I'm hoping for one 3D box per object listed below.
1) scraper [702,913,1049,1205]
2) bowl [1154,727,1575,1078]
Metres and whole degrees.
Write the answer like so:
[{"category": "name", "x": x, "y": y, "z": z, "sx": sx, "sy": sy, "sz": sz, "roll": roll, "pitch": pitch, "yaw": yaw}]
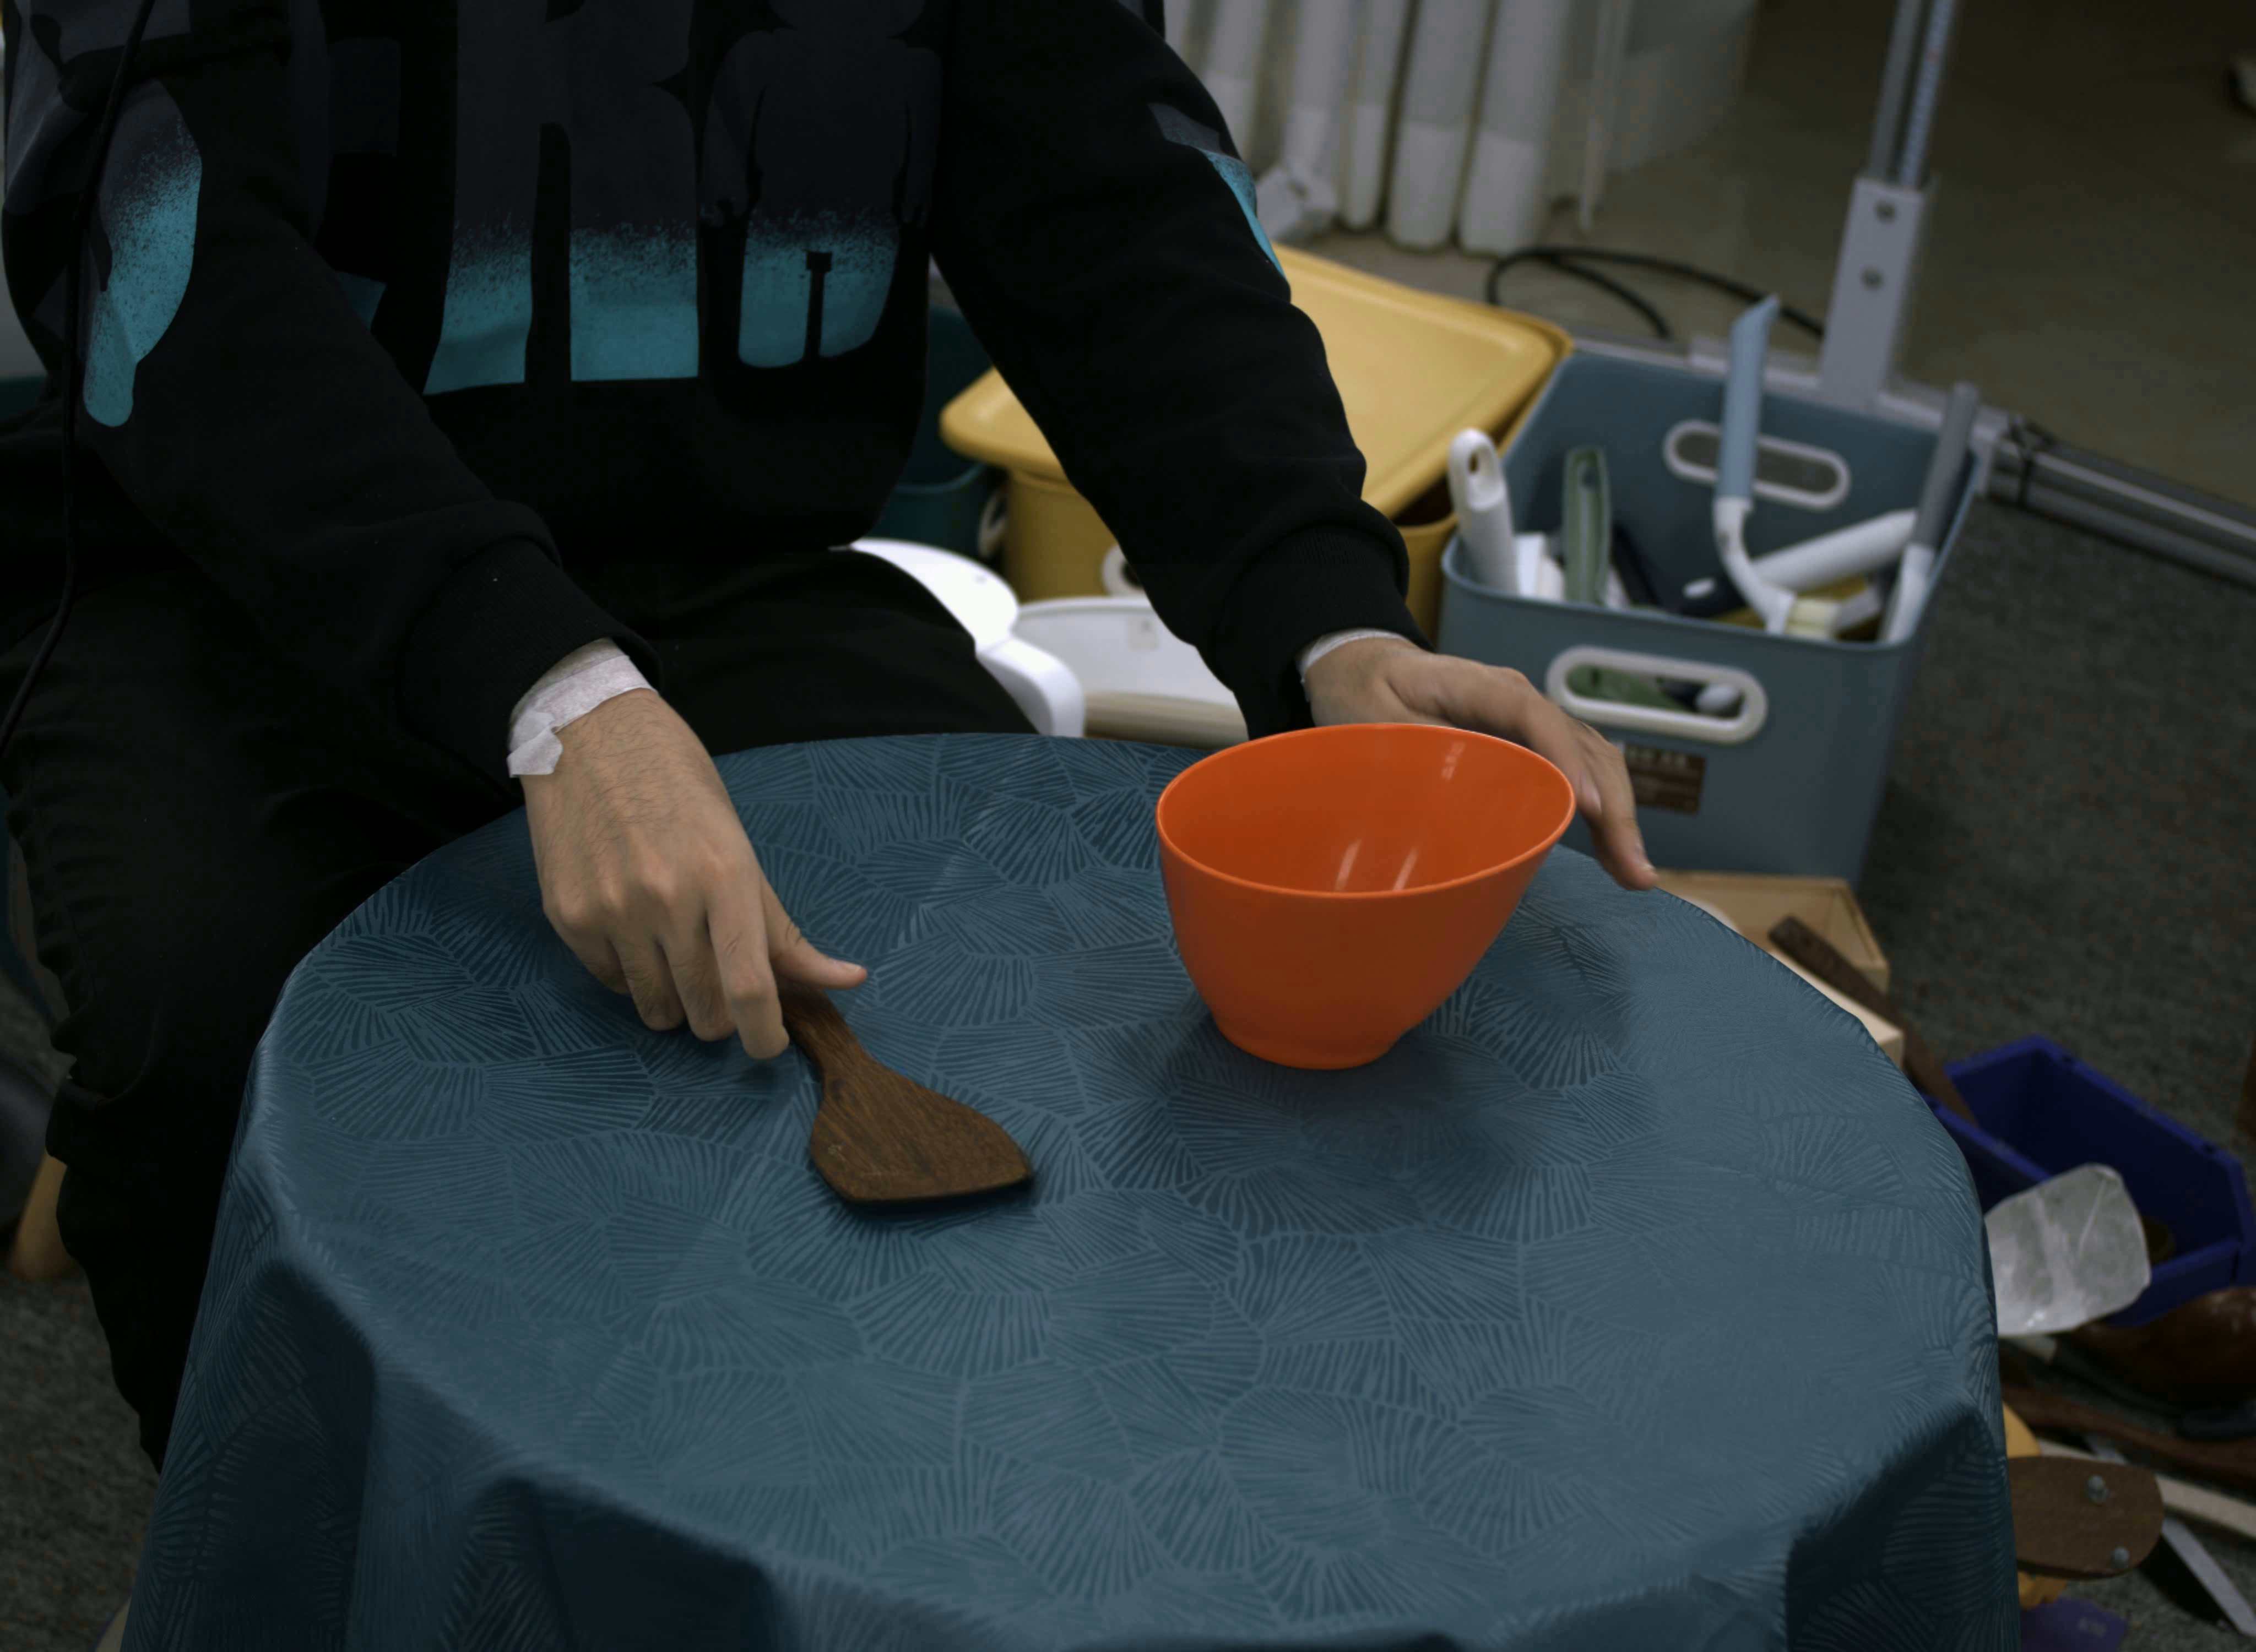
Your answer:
[{"category": "scraper", "x": -0.100, "y": 0.080, "z": 1.856, "sx": 0.075, "sy": 0.011, "sz": 0.213, "roll": -6, "pitch": 28, "yaw": -25}, {"category": "bowl", "x": 0.079, "y": 0.031, "z": 1.891, "sx": 0.147, "sy": 0.104, "sz": 0.149, "roll": 3, "pitch": 27, "yaw": -2}]
